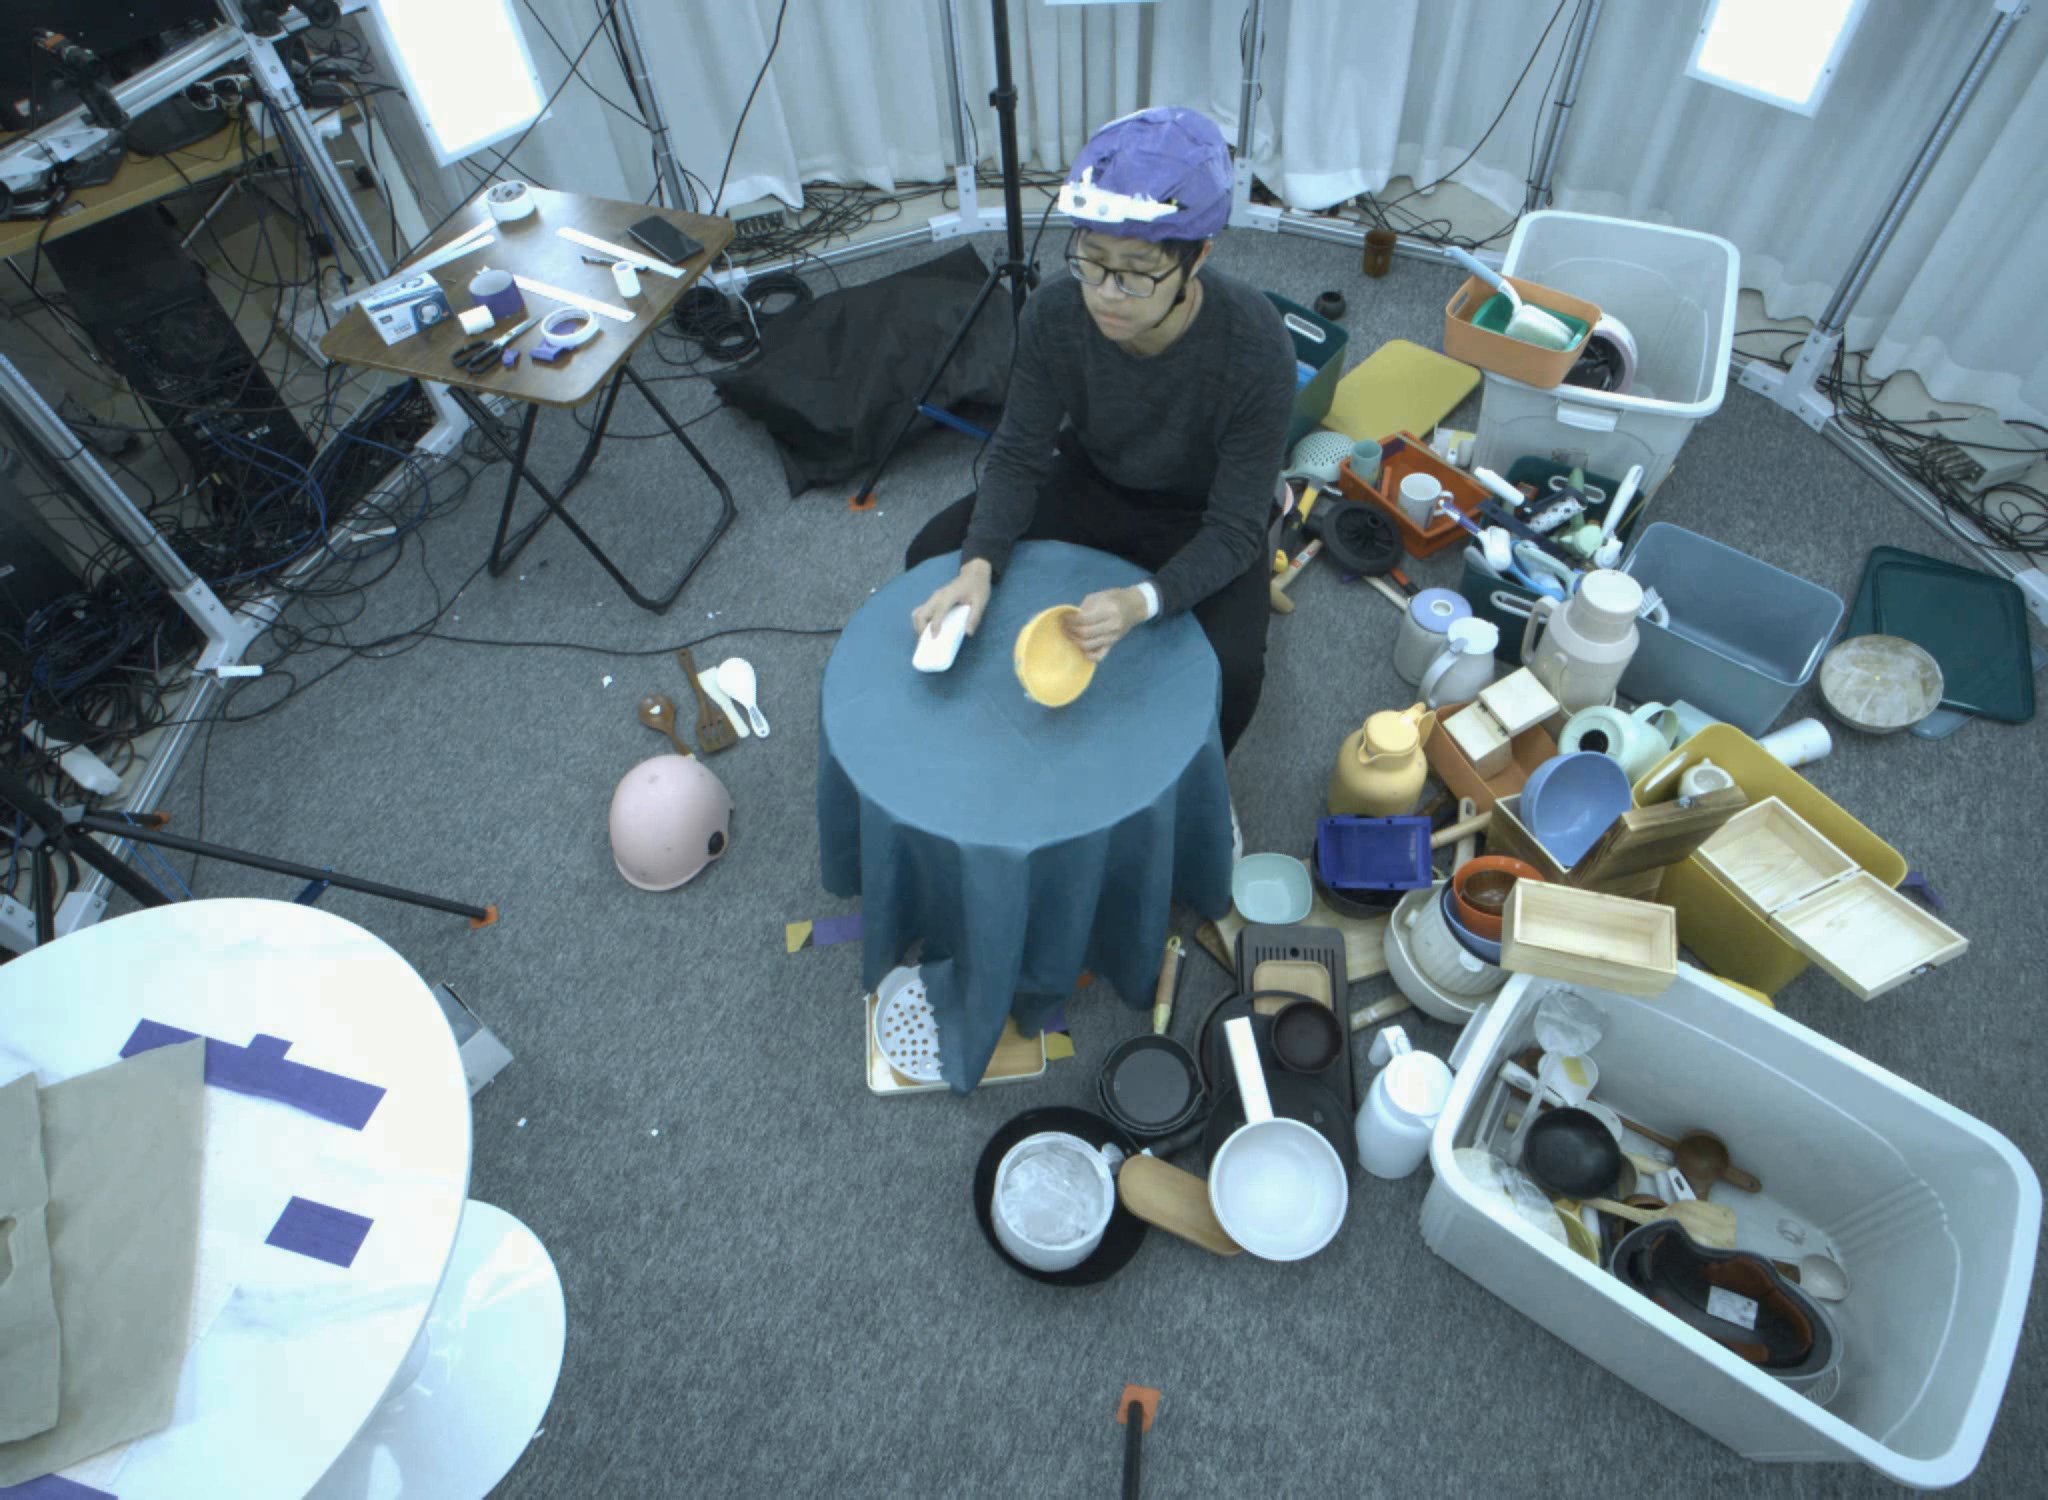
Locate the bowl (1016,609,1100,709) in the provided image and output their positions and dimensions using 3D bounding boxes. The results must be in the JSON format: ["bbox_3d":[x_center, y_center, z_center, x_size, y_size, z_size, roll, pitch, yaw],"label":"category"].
[{"bbox_3d":[0.037,-0.134,1.766,0.146,0.148,0.058,-44,37,-24],"label":"bowl"}]

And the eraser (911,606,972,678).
[{"bbox_3d":[-0.124,-0.166,1.856,0.062,0.035,0.131,2,54,26],"label":"eraser"}]
